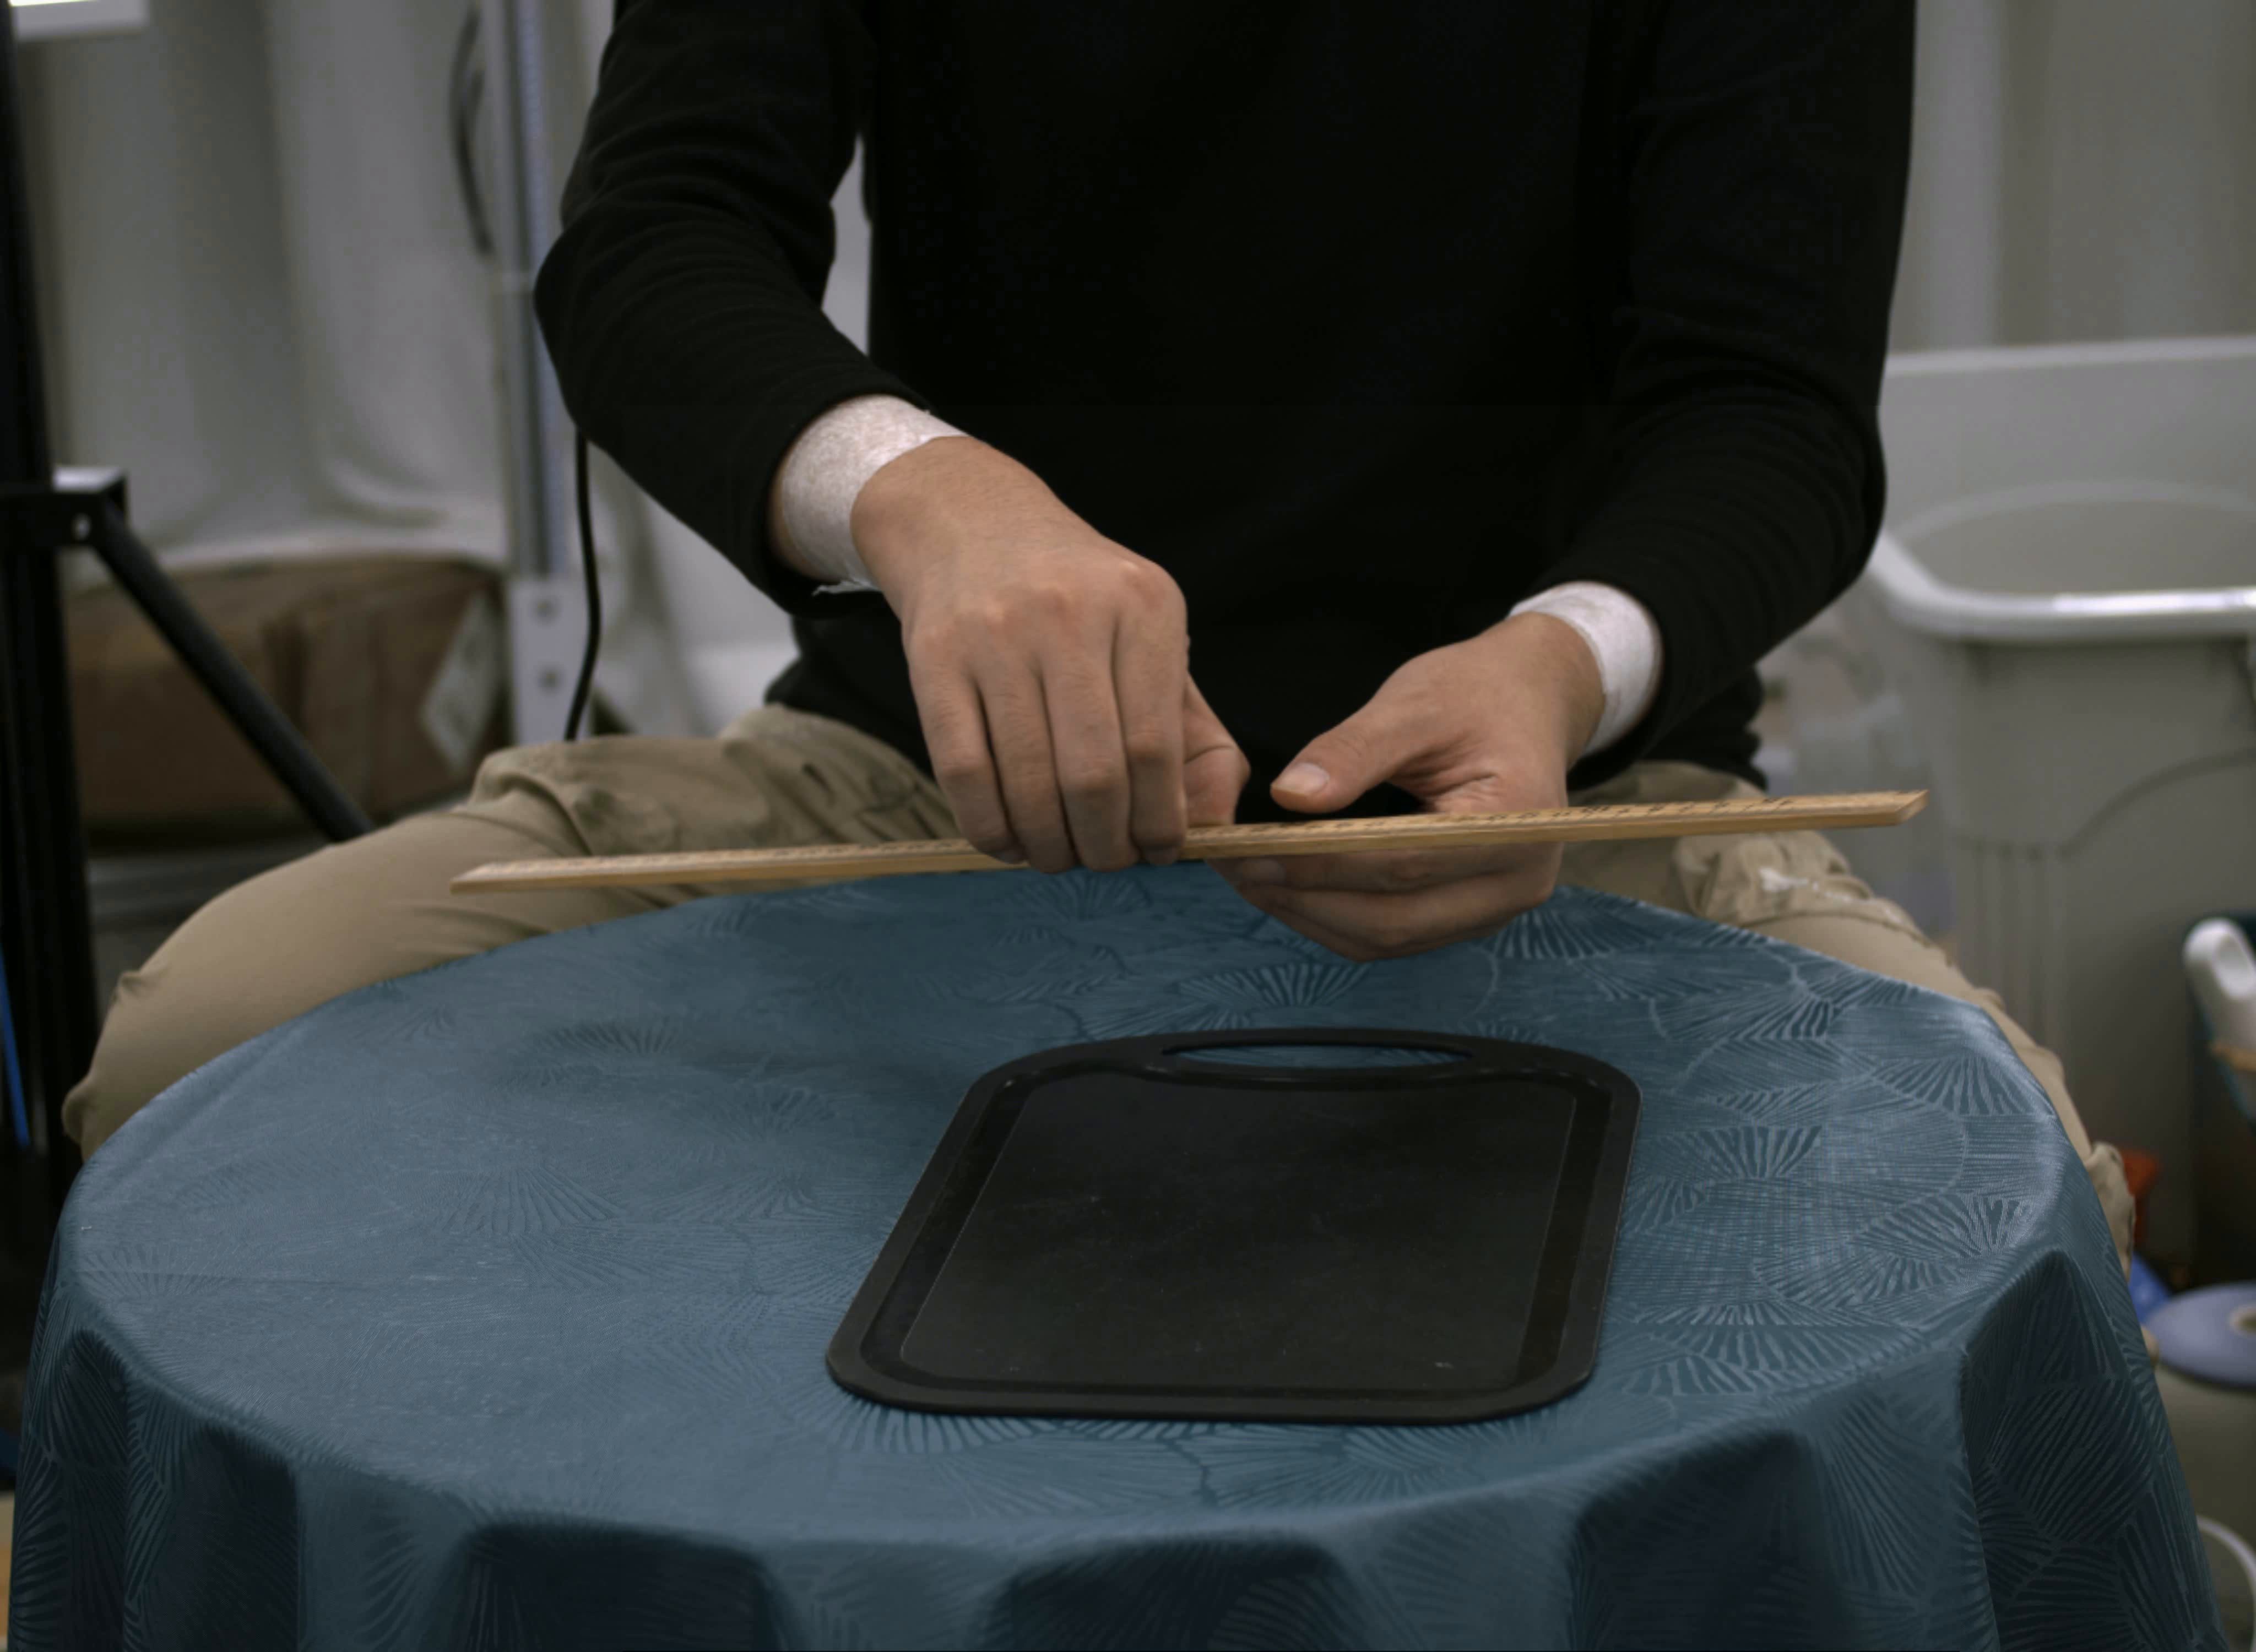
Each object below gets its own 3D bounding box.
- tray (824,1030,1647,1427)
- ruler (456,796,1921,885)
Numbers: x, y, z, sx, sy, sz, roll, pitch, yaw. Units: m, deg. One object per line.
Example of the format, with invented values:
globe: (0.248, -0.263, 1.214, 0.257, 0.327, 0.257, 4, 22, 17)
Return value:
tray: (0.039, 0.109, 1.535, 0.212, 0.010, 0.324, 0, 16, 10)
ruler: (0.002, 0.006, 1.583, 0.509, 0.006, 0.026, -2, 11, 34)
